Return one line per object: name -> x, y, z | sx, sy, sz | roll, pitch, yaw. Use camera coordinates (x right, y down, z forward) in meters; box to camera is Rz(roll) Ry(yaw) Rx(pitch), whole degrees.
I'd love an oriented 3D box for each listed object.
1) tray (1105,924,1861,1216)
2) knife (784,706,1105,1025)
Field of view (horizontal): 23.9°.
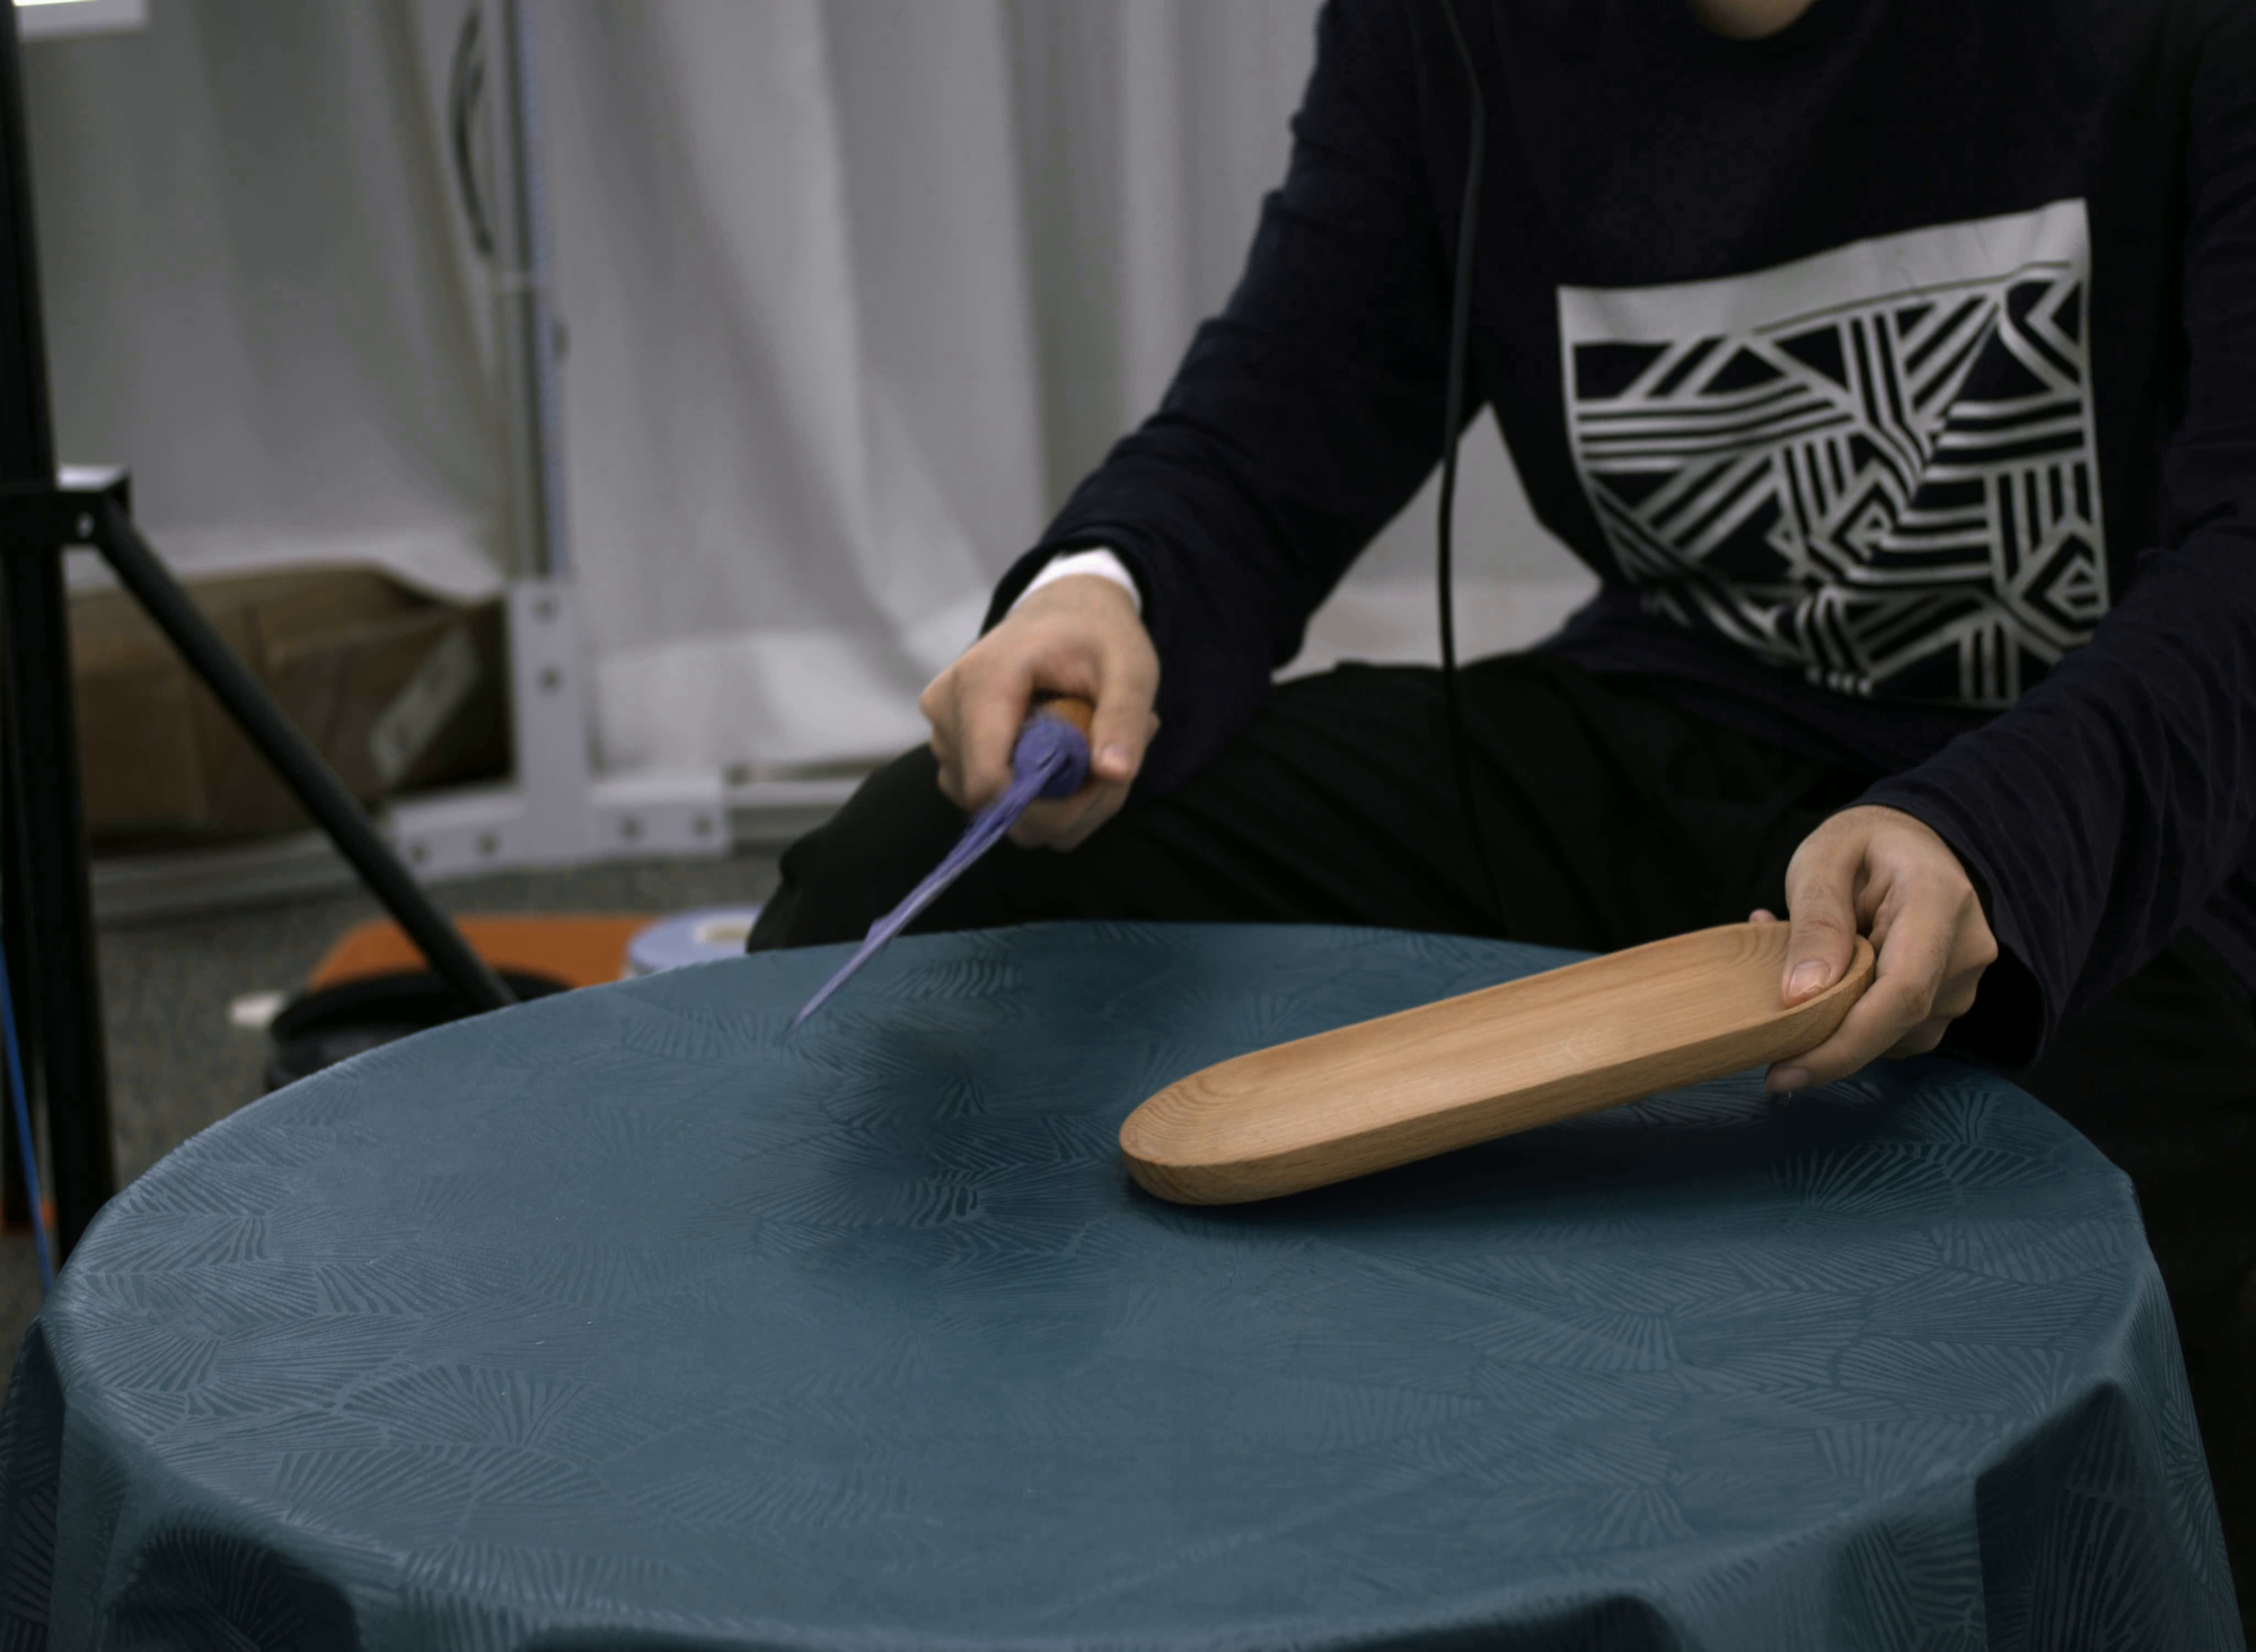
tray -> 0.106, 0.072, 1.568 | 0.230, 0.020, 0.102 | -17, 14, -3
knife -> -0.059, 0.010, 1.680 | 0.104, 0.032, 0.314 | -42, 0, 9
